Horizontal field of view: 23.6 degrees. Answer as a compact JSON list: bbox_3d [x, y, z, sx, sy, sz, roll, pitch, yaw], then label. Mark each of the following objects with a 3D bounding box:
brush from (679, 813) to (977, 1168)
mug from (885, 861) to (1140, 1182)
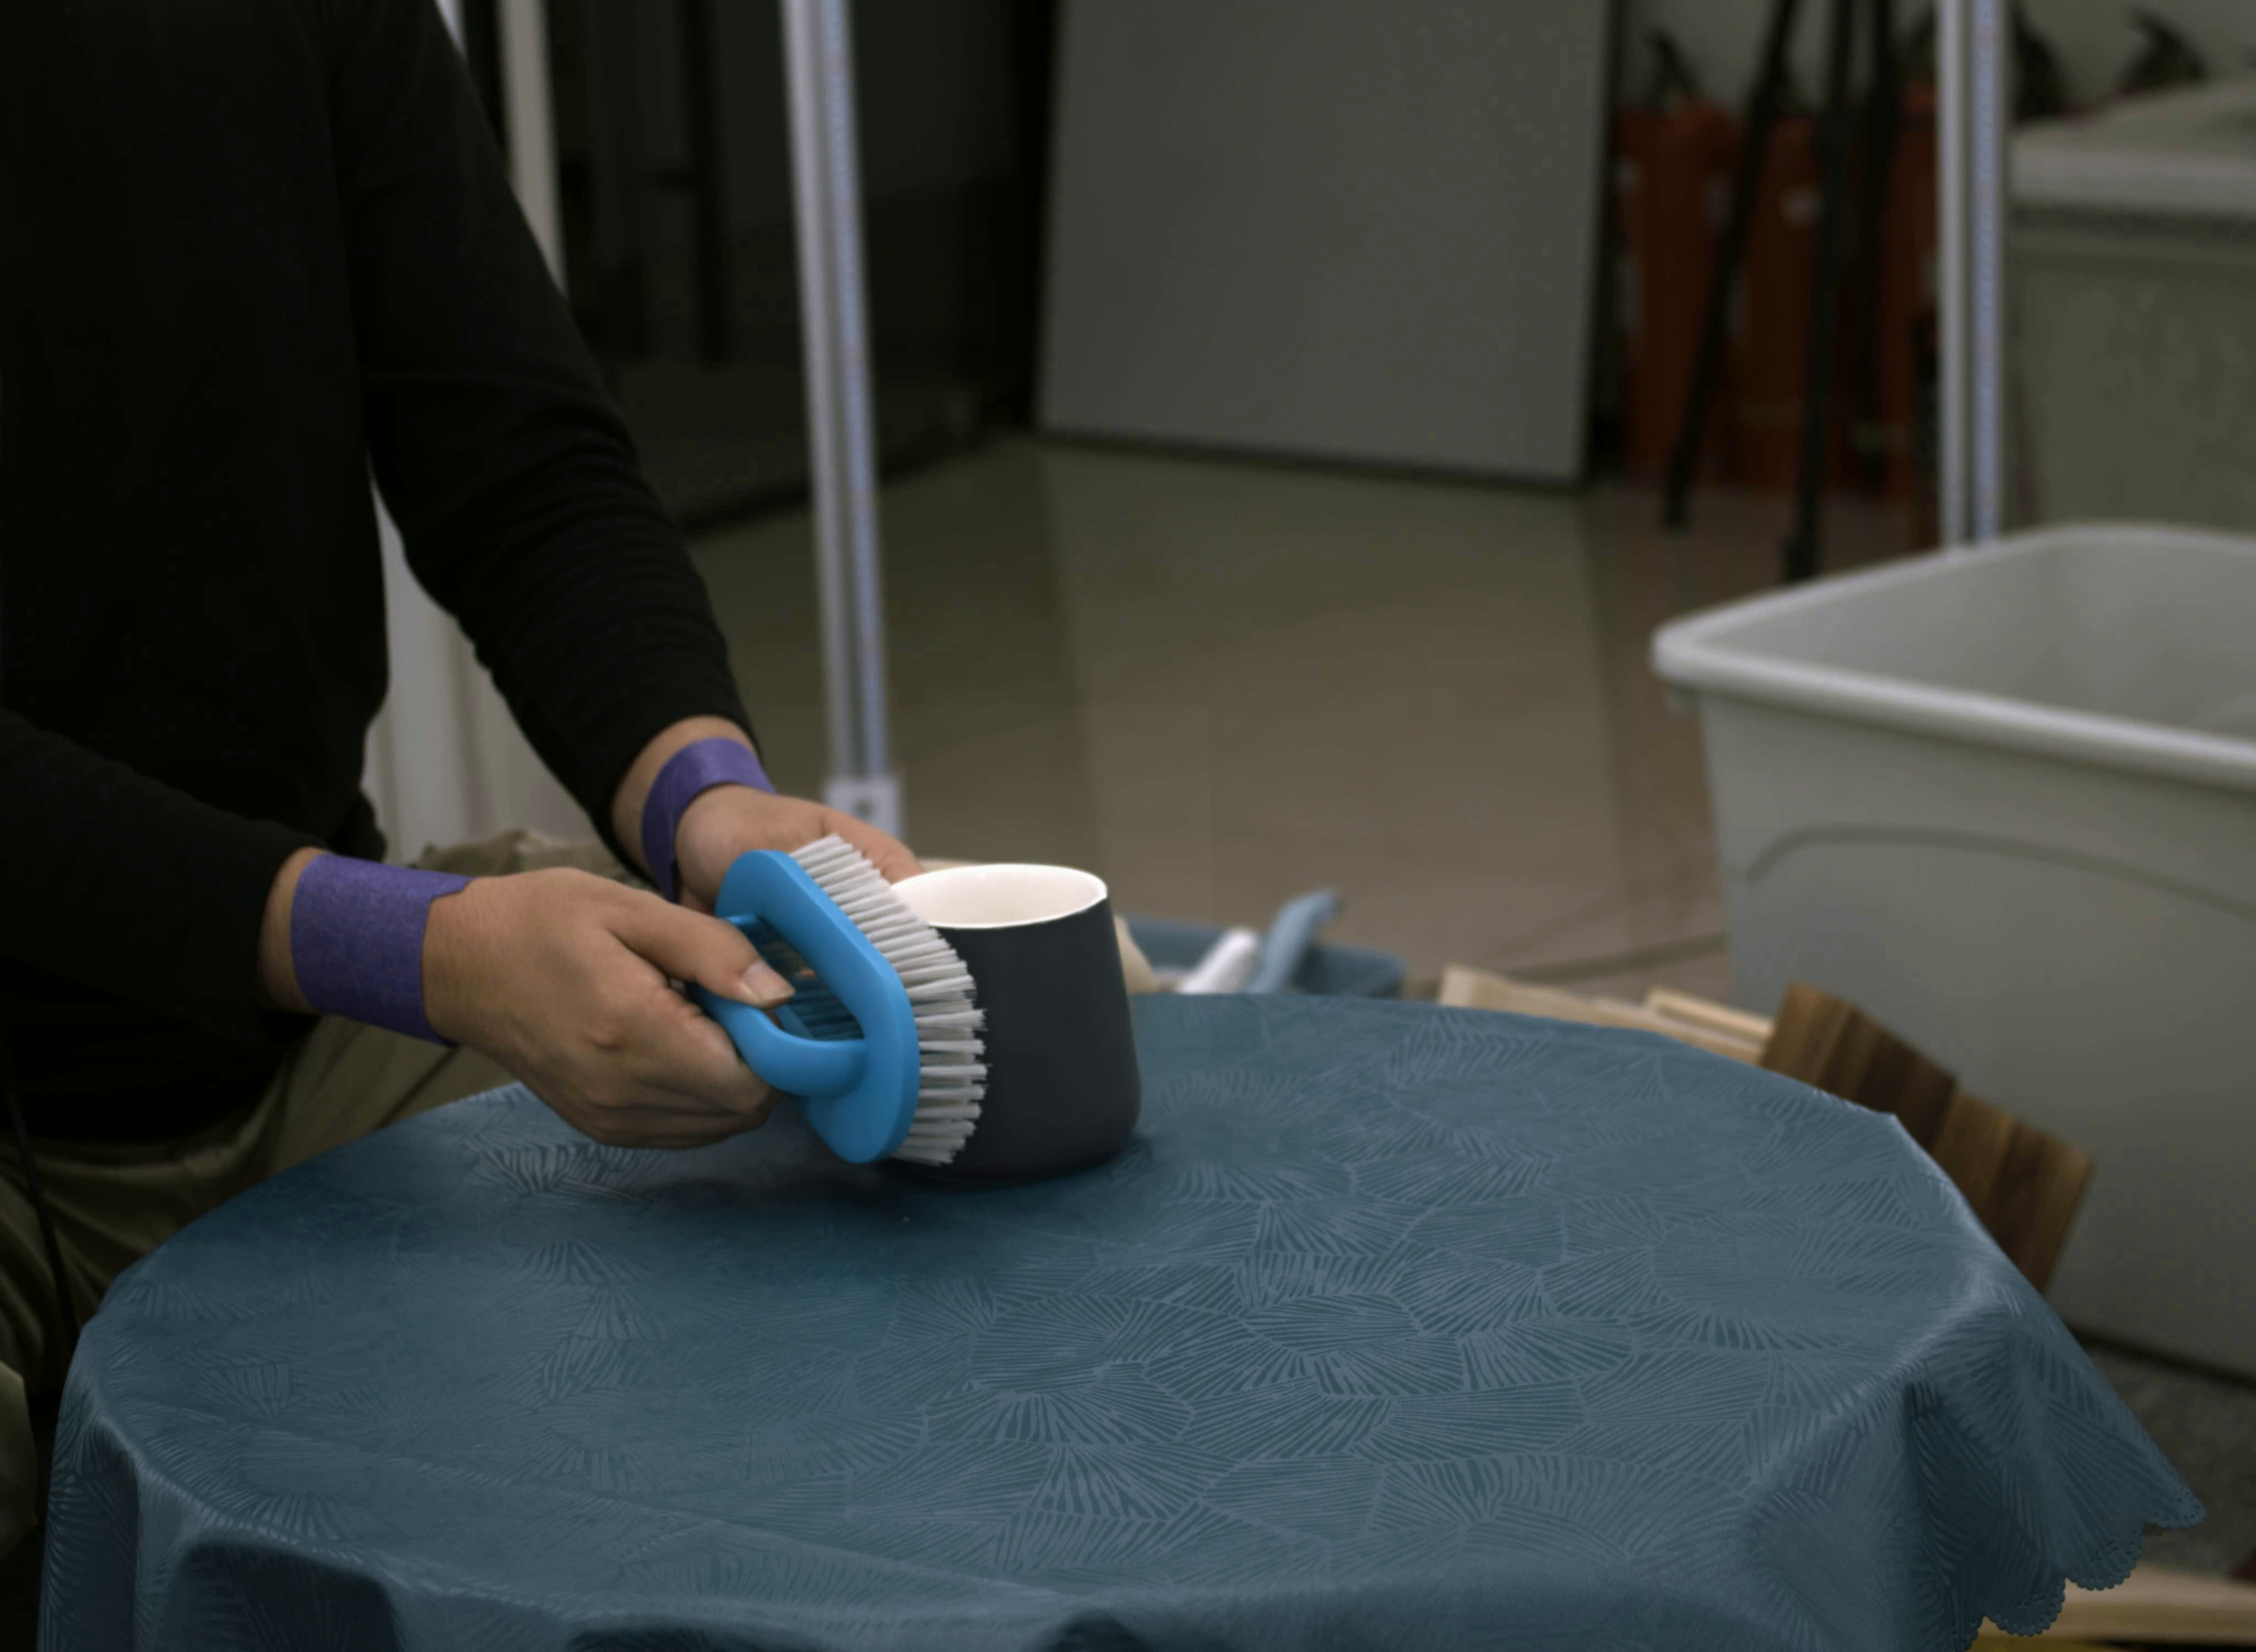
[{"bbox_3d":[-0.106,0.057,1.769,0.062,0.085,0.143,-7,33,-28],"label":"brush"},{"bbox_3d":[-0.052,0.063,1.823,0.091,0.091,0.124,-13,18,-36],"label":"mug"}]
